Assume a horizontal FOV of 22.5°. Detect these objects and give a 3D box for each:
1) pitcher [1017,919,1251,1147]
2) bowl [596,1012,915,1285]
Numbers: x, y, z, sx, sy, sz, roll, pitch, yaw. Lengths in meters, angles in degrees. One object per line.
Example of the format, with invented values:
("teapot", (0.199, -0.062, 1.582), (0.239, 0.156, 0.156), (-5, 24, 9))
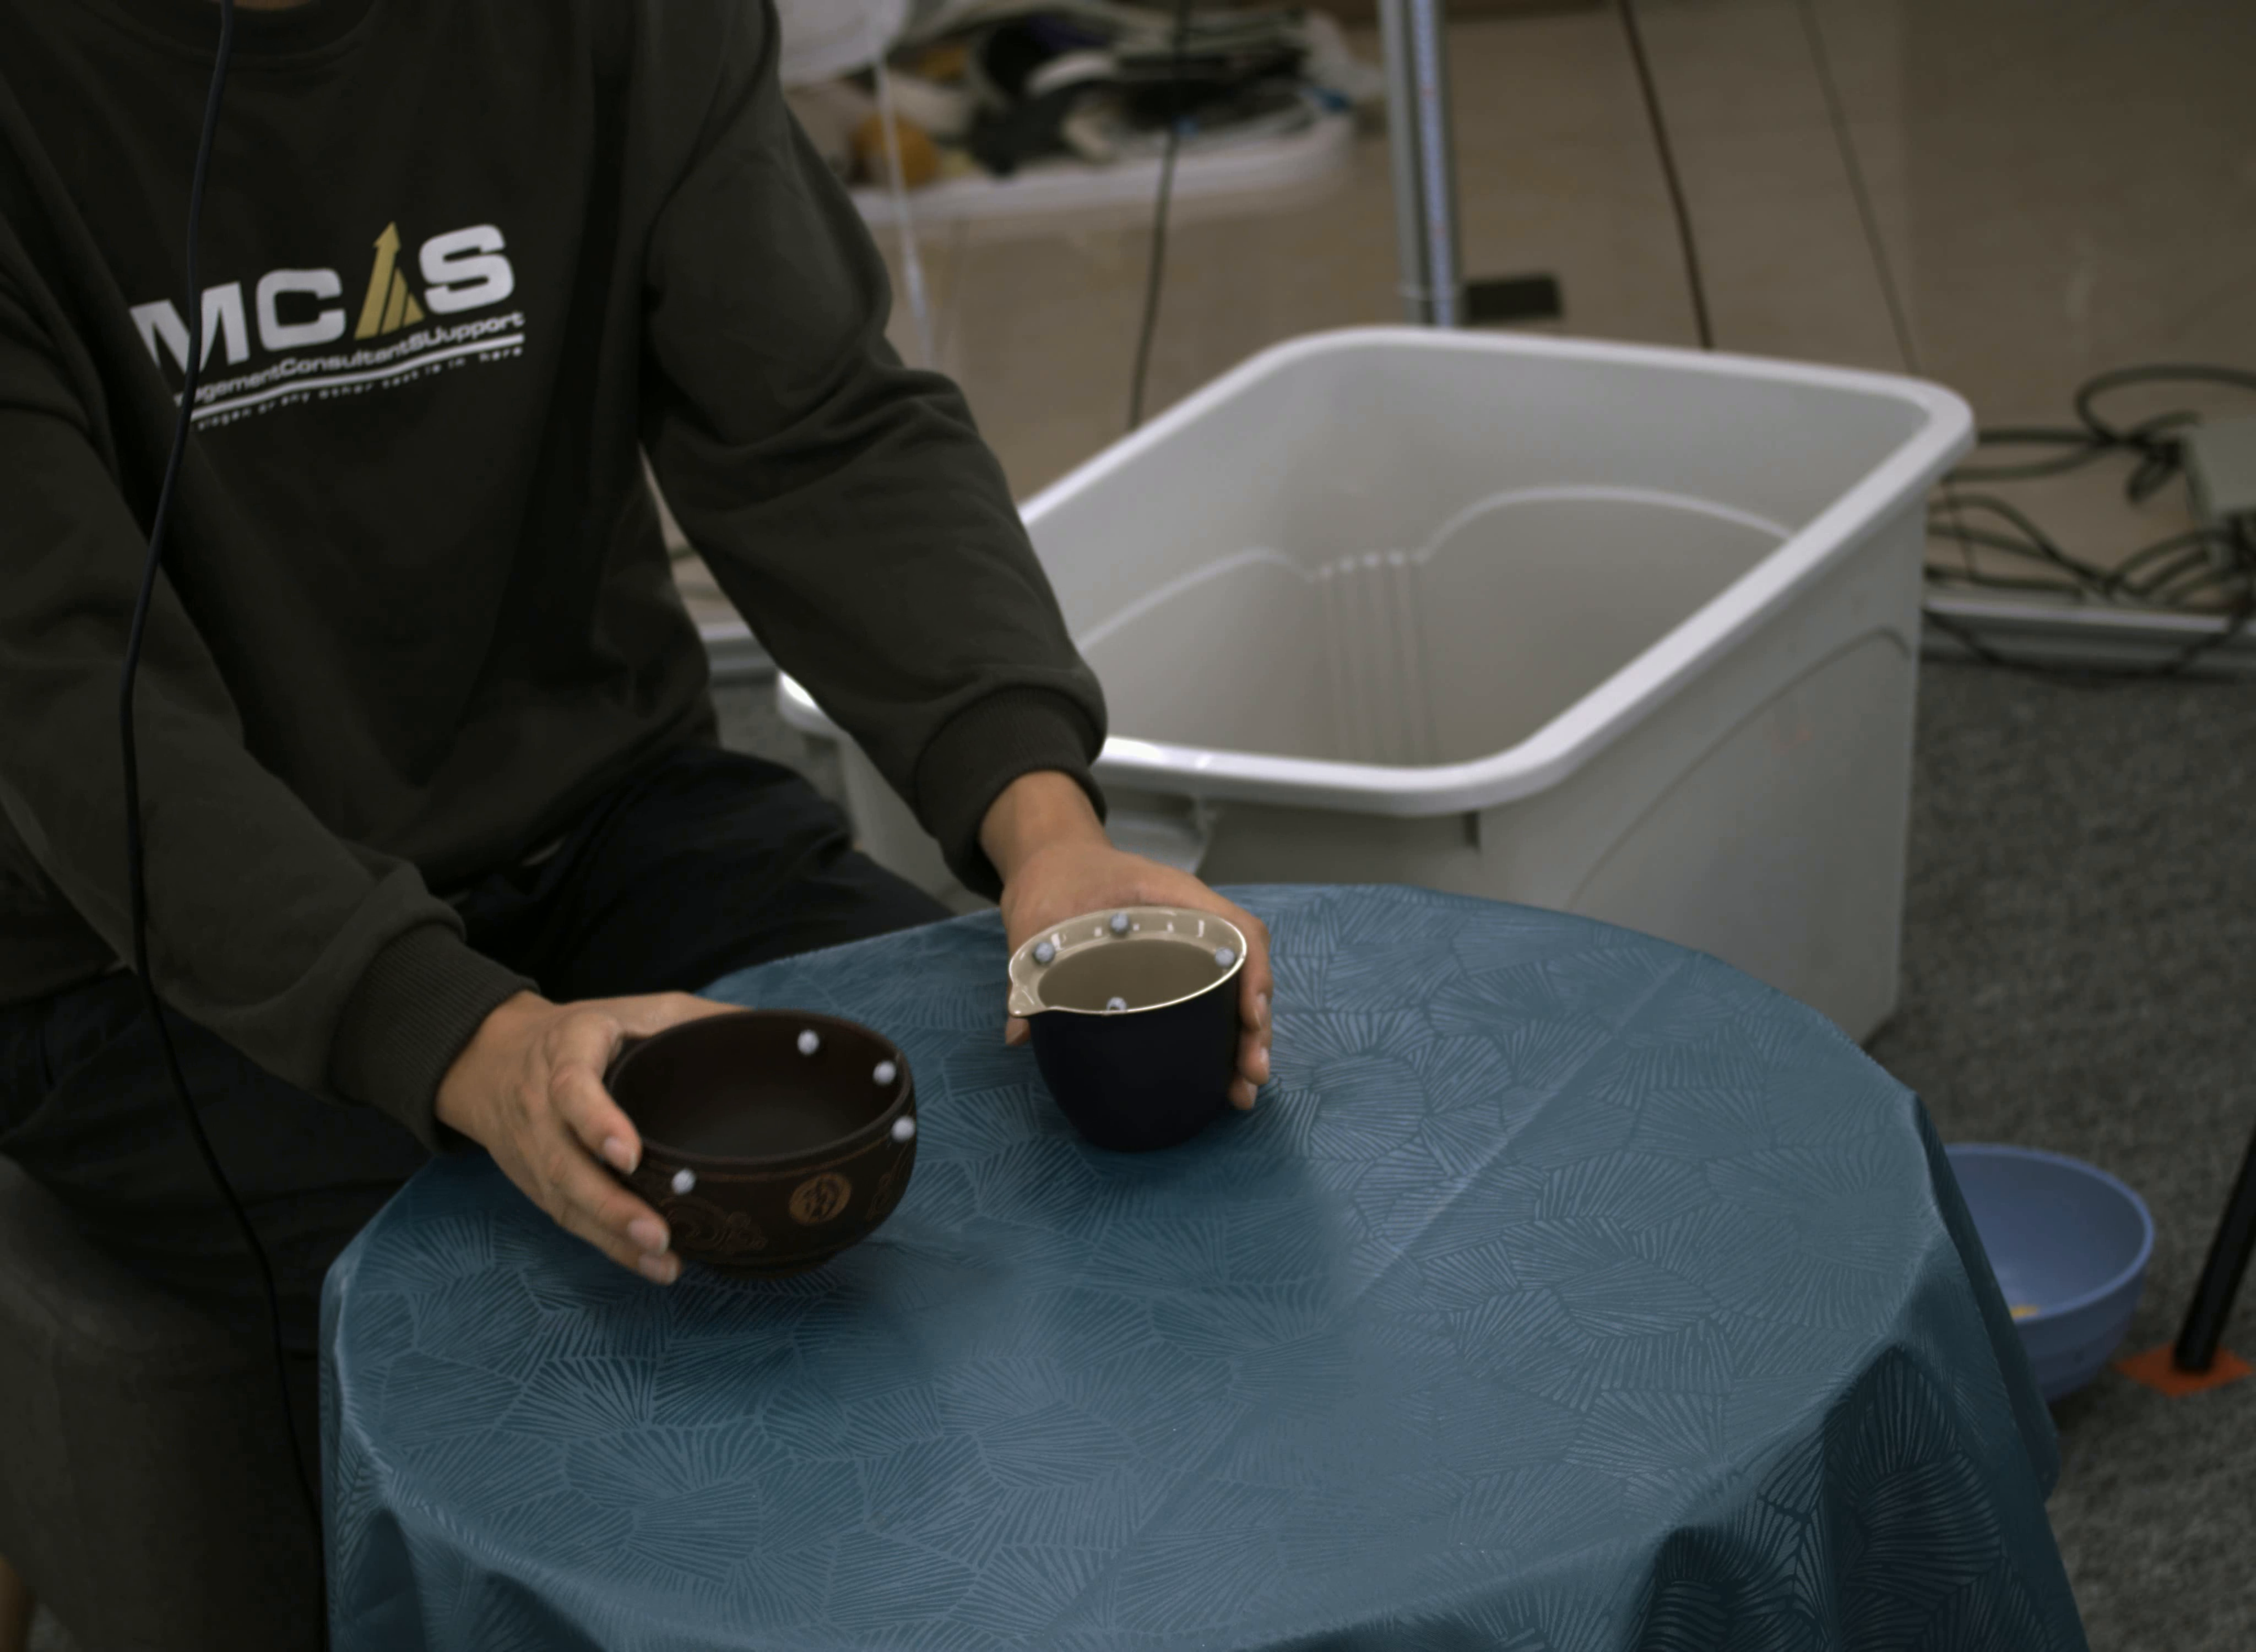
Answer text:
("pitcher", (0.003, 0.082, 2.181), (0.095, 0.072, 0.082), (-20, 31, -24))
("bowl", (-0.137, 0.126, 2.095), (0.118, 0.071, 0.116), (-2, 27, 1))
